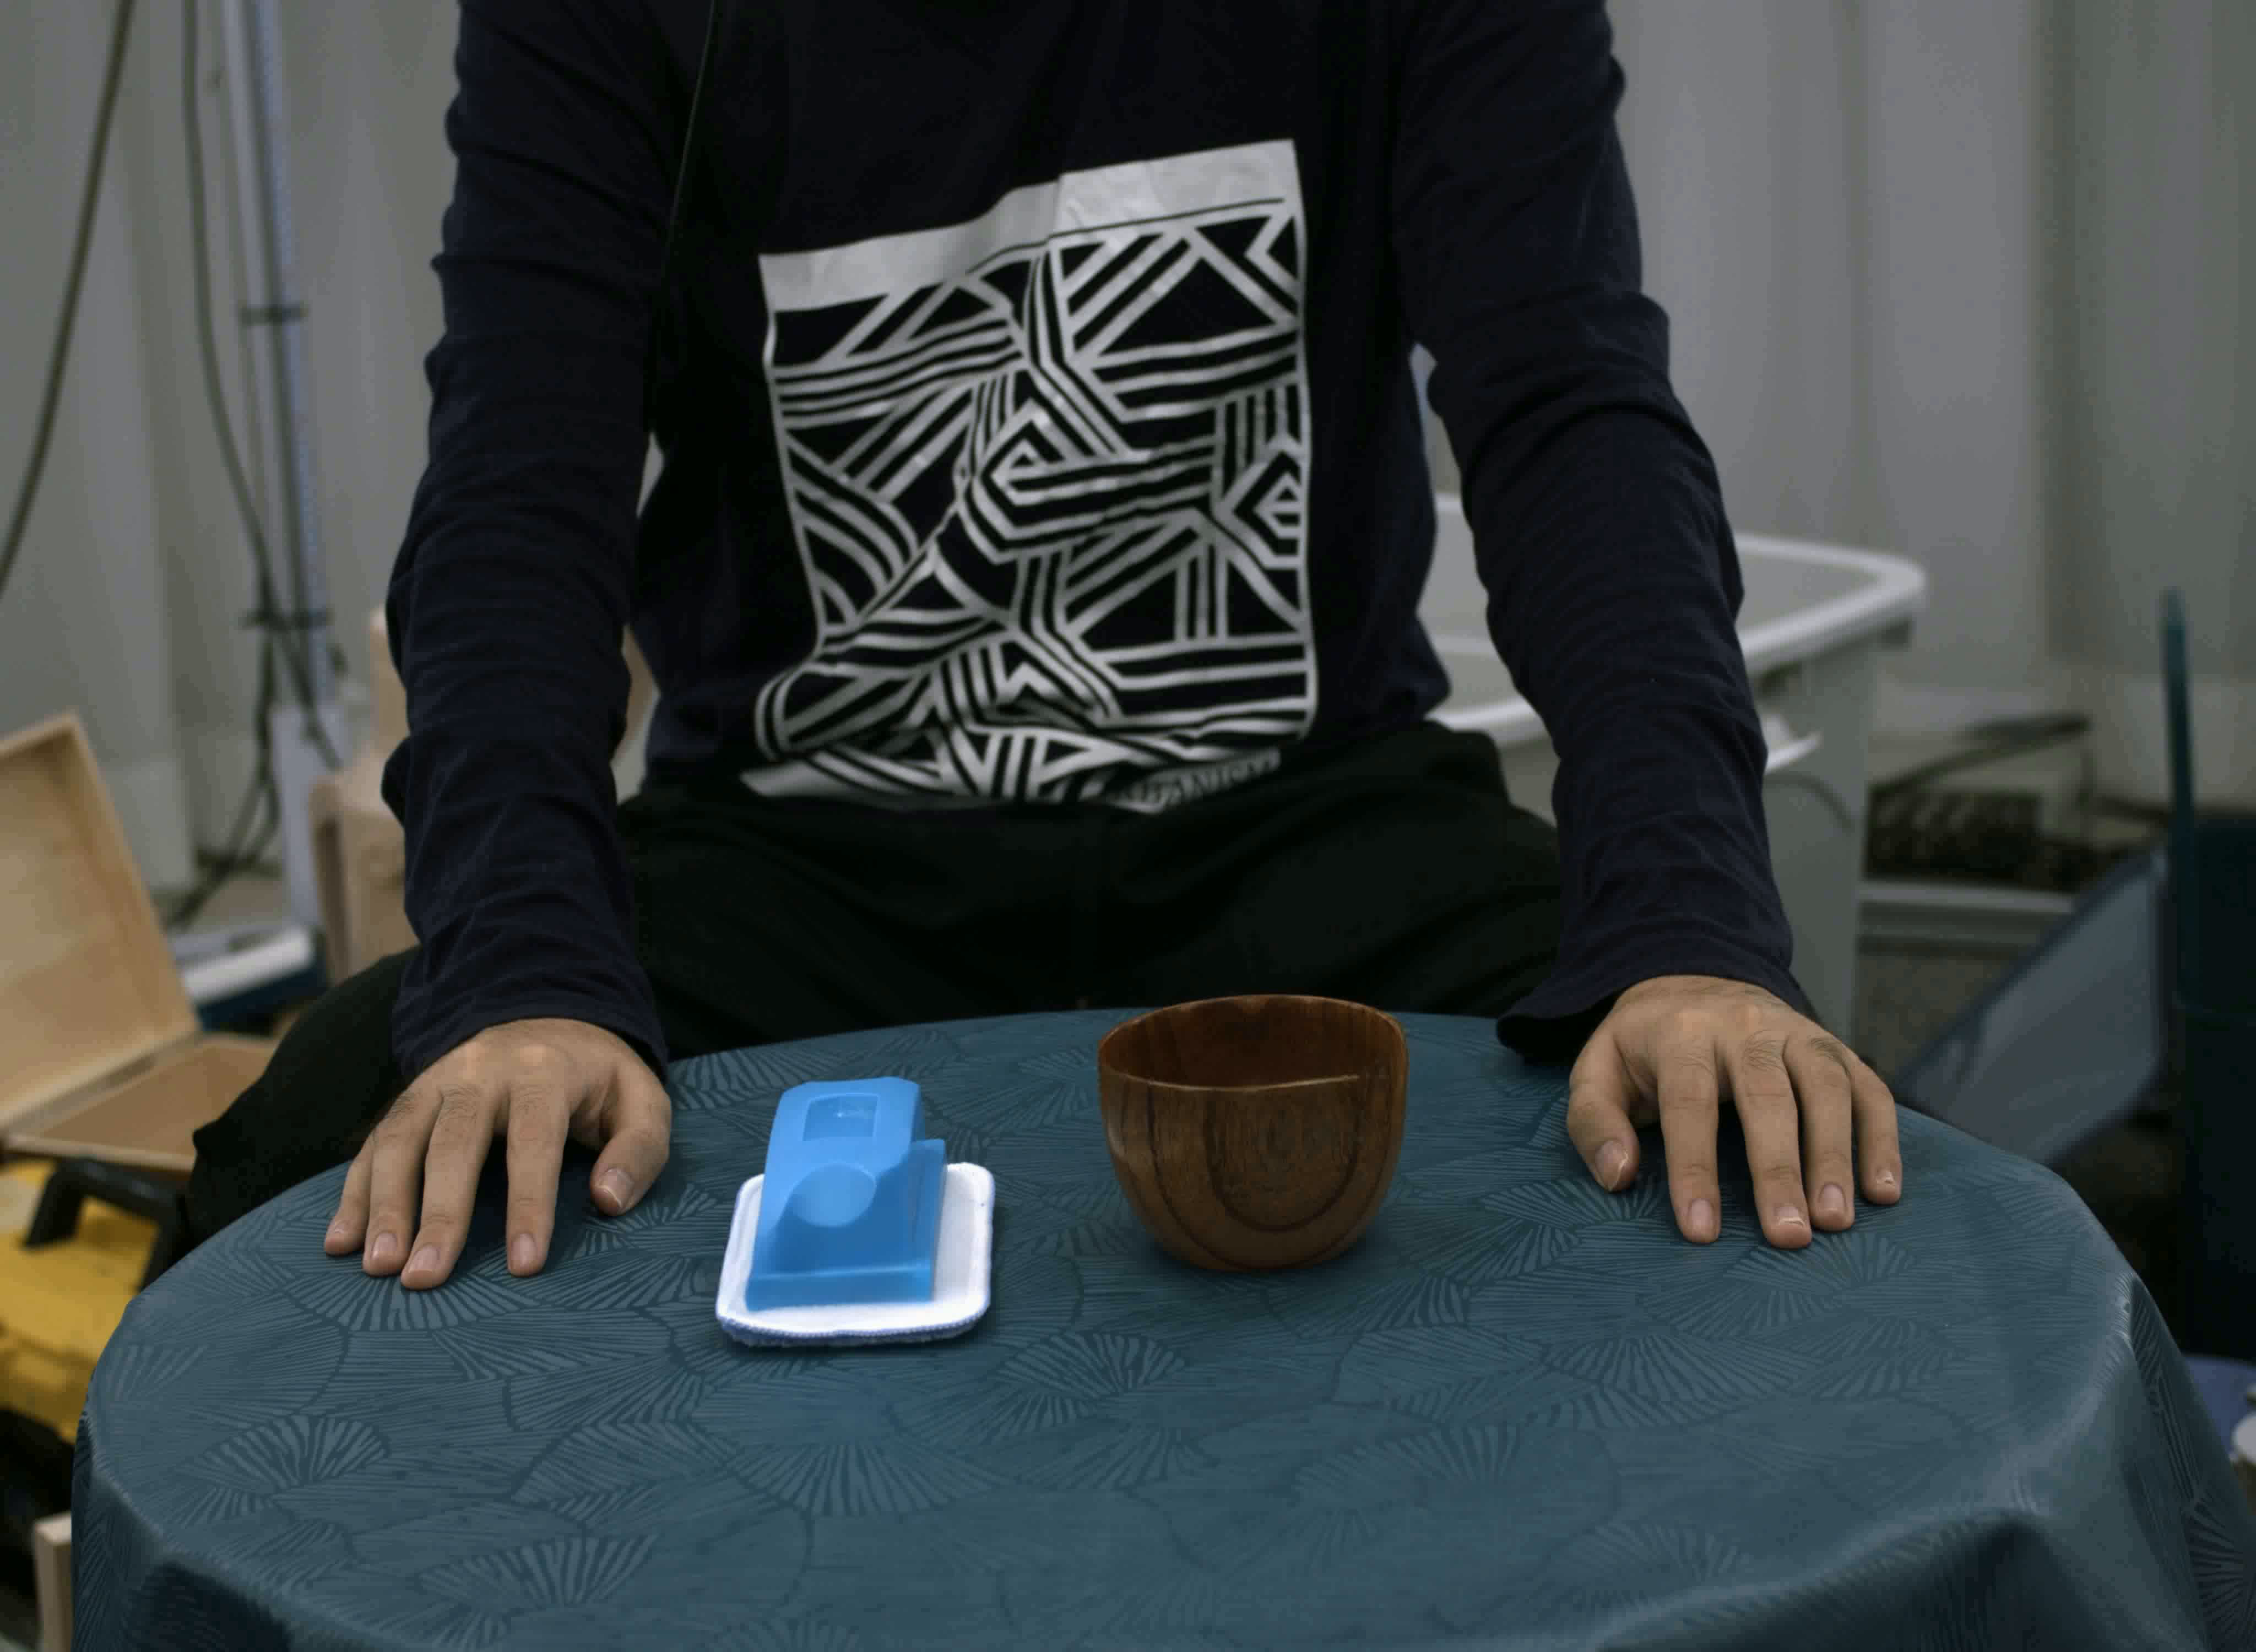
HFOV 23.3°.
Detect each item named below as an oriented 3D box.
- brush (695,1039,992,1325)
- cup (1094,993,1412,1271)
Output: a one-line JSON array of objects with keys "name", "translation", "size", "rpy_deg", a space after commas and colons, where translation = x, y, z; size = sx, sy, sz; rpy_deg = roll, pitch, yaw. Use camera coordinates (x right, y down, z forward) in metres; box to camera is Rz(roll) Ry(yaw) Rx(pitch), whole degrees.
[{"name": "brush", "translation": [-0.085, 0.104, 1.653], "size": [0.083, 0.055, 0.145], "rpy_deg": [1, 18, 2]}, {"name": "cup", "translation": [0.040, 0.092, 1.668], "size": [0.096, 0.067, 0.120], "rpy_deg": [-7, 12, 1]}]
